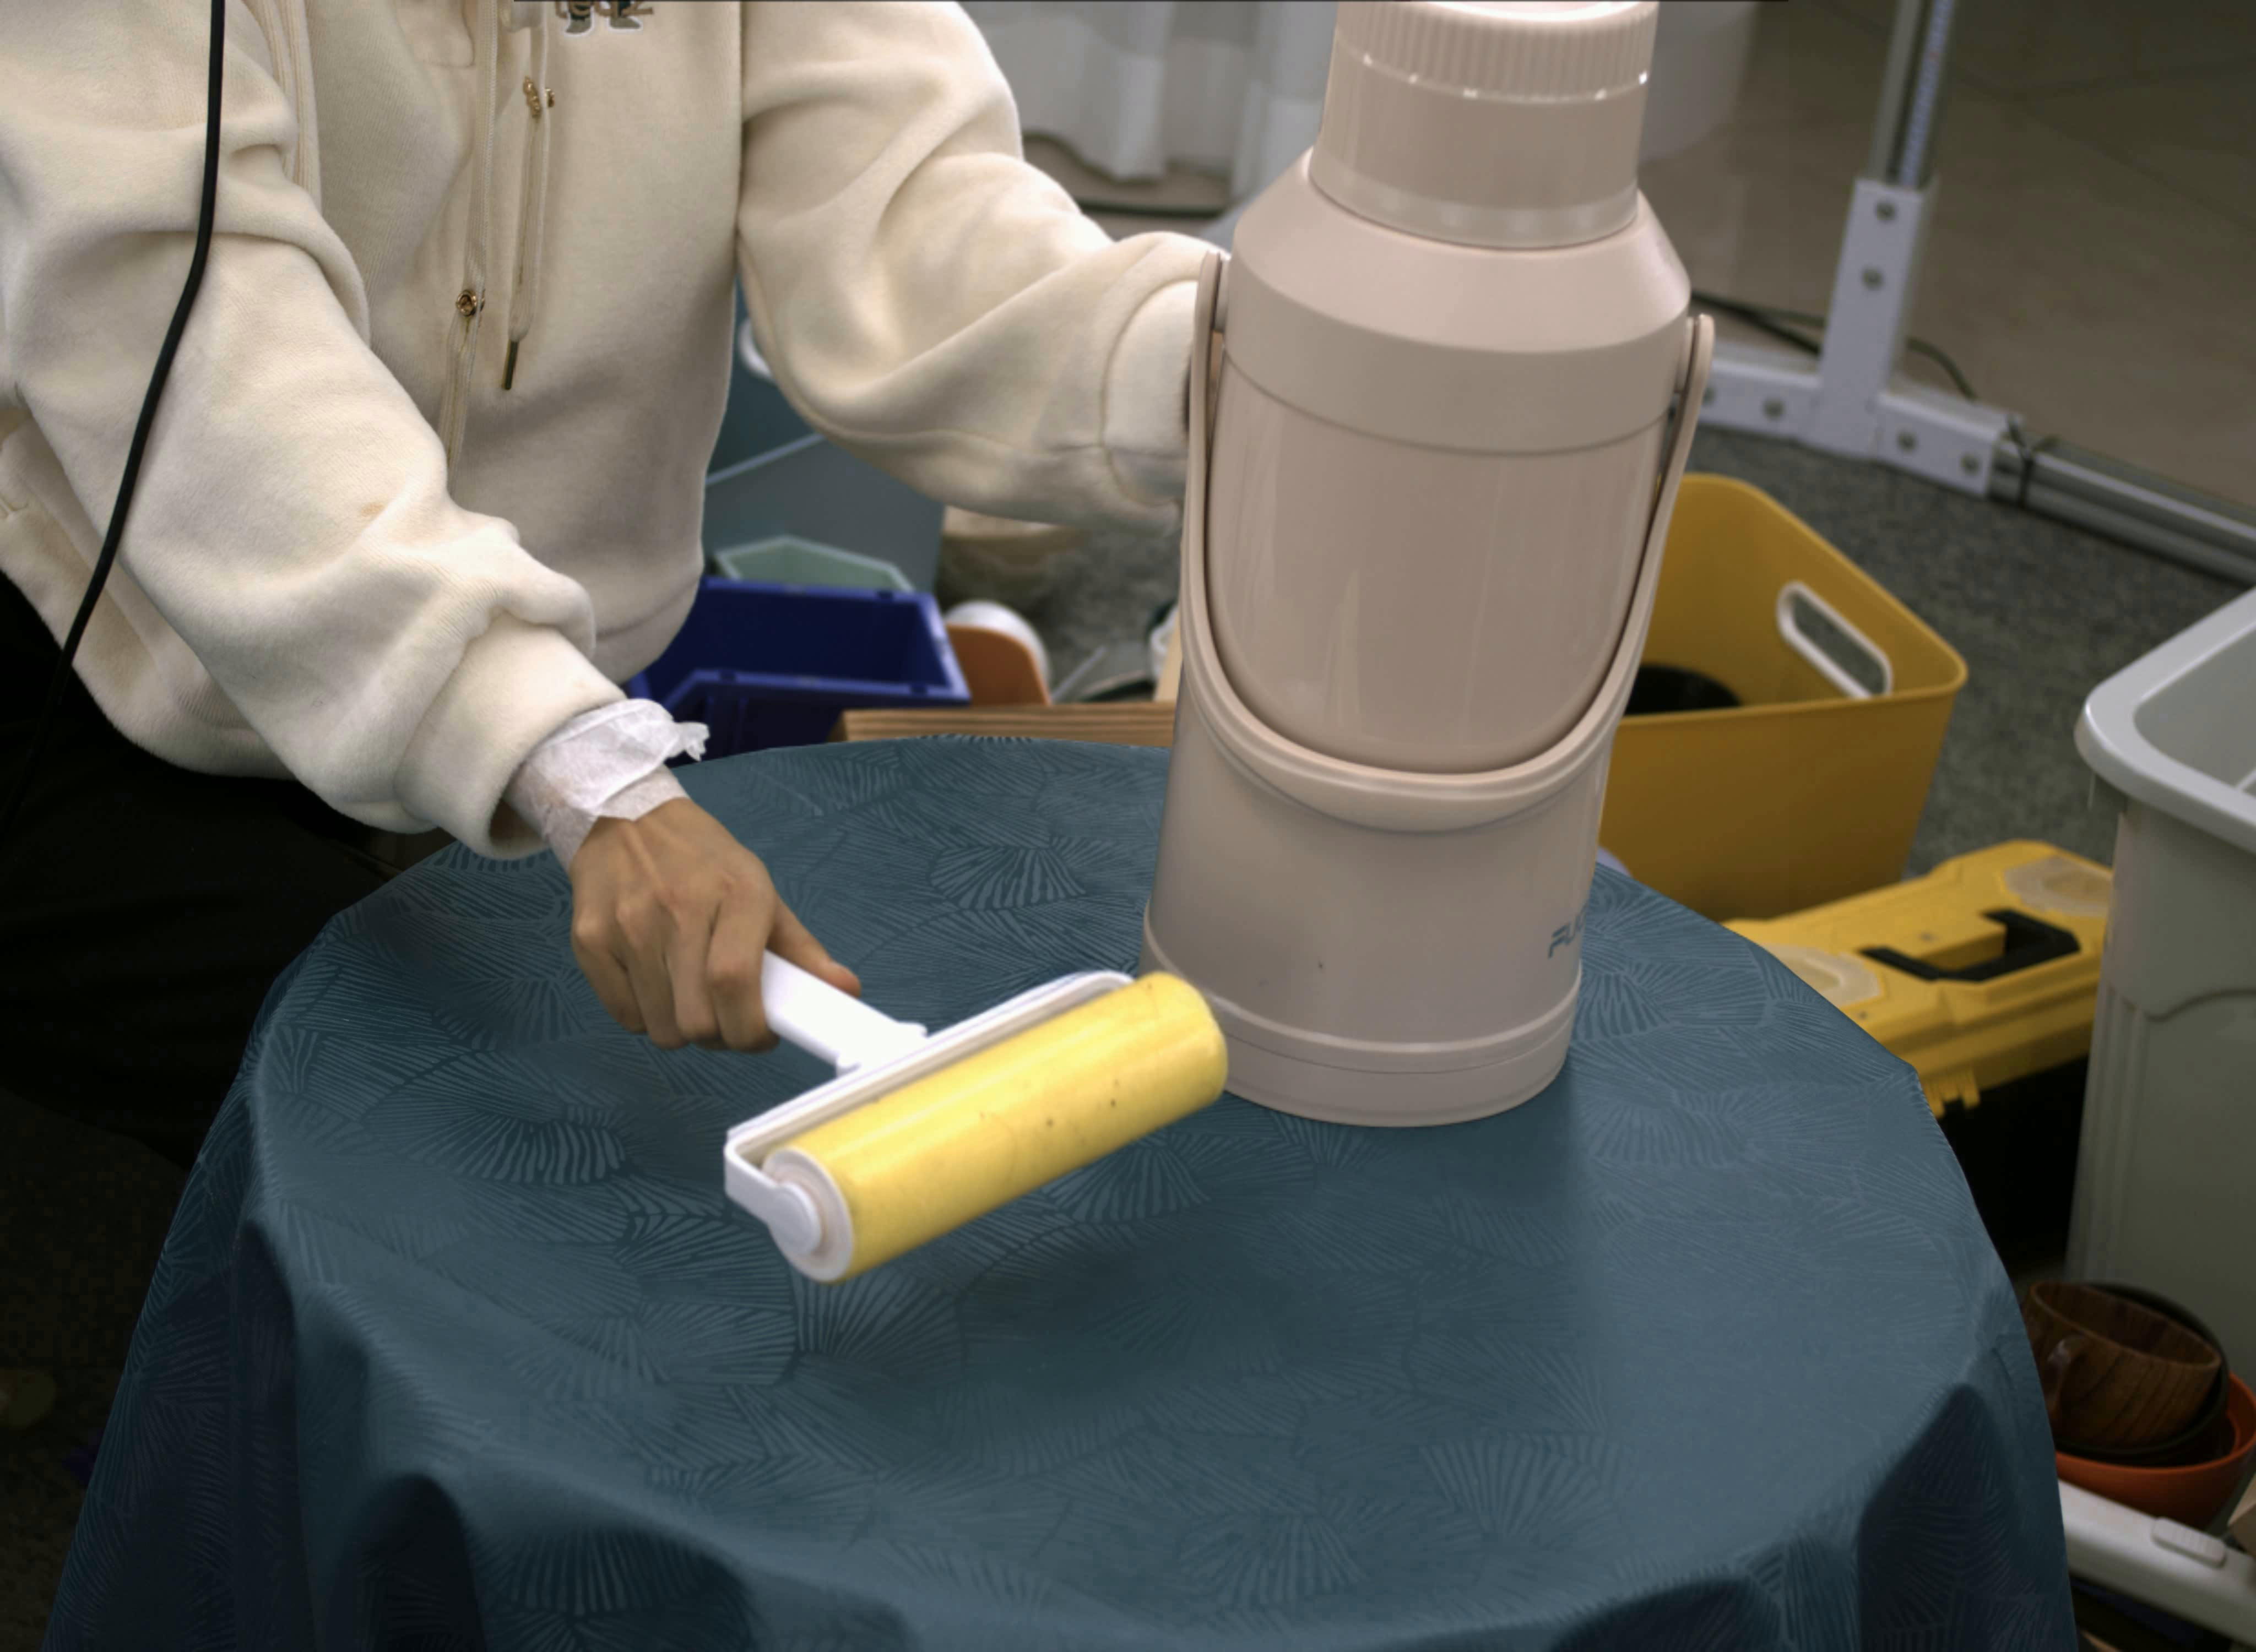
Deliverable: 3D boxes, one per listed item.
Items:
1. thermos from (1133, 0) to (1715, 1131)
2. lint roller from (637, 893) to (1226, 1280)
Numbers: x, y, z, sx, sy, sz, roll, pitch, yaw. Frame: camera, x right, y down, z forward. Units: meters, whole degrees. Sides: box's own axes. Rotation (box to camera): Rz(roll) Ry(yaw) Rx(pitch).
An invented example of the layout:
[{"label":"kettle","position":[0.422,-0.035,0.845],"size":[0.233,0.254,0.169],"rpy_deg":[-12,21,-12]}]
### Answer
[{"label":"thermos","position":[0.104,-0.111,1.850],"size":[0.175,0.405,0.208],"rpy_deg":[7,26,2]},{"label":"lint roller","position":[-0.091,0.059,1.724],"size":[0.173,0.051,0.193],"rpy_deg":[-24,47,-38]}]
